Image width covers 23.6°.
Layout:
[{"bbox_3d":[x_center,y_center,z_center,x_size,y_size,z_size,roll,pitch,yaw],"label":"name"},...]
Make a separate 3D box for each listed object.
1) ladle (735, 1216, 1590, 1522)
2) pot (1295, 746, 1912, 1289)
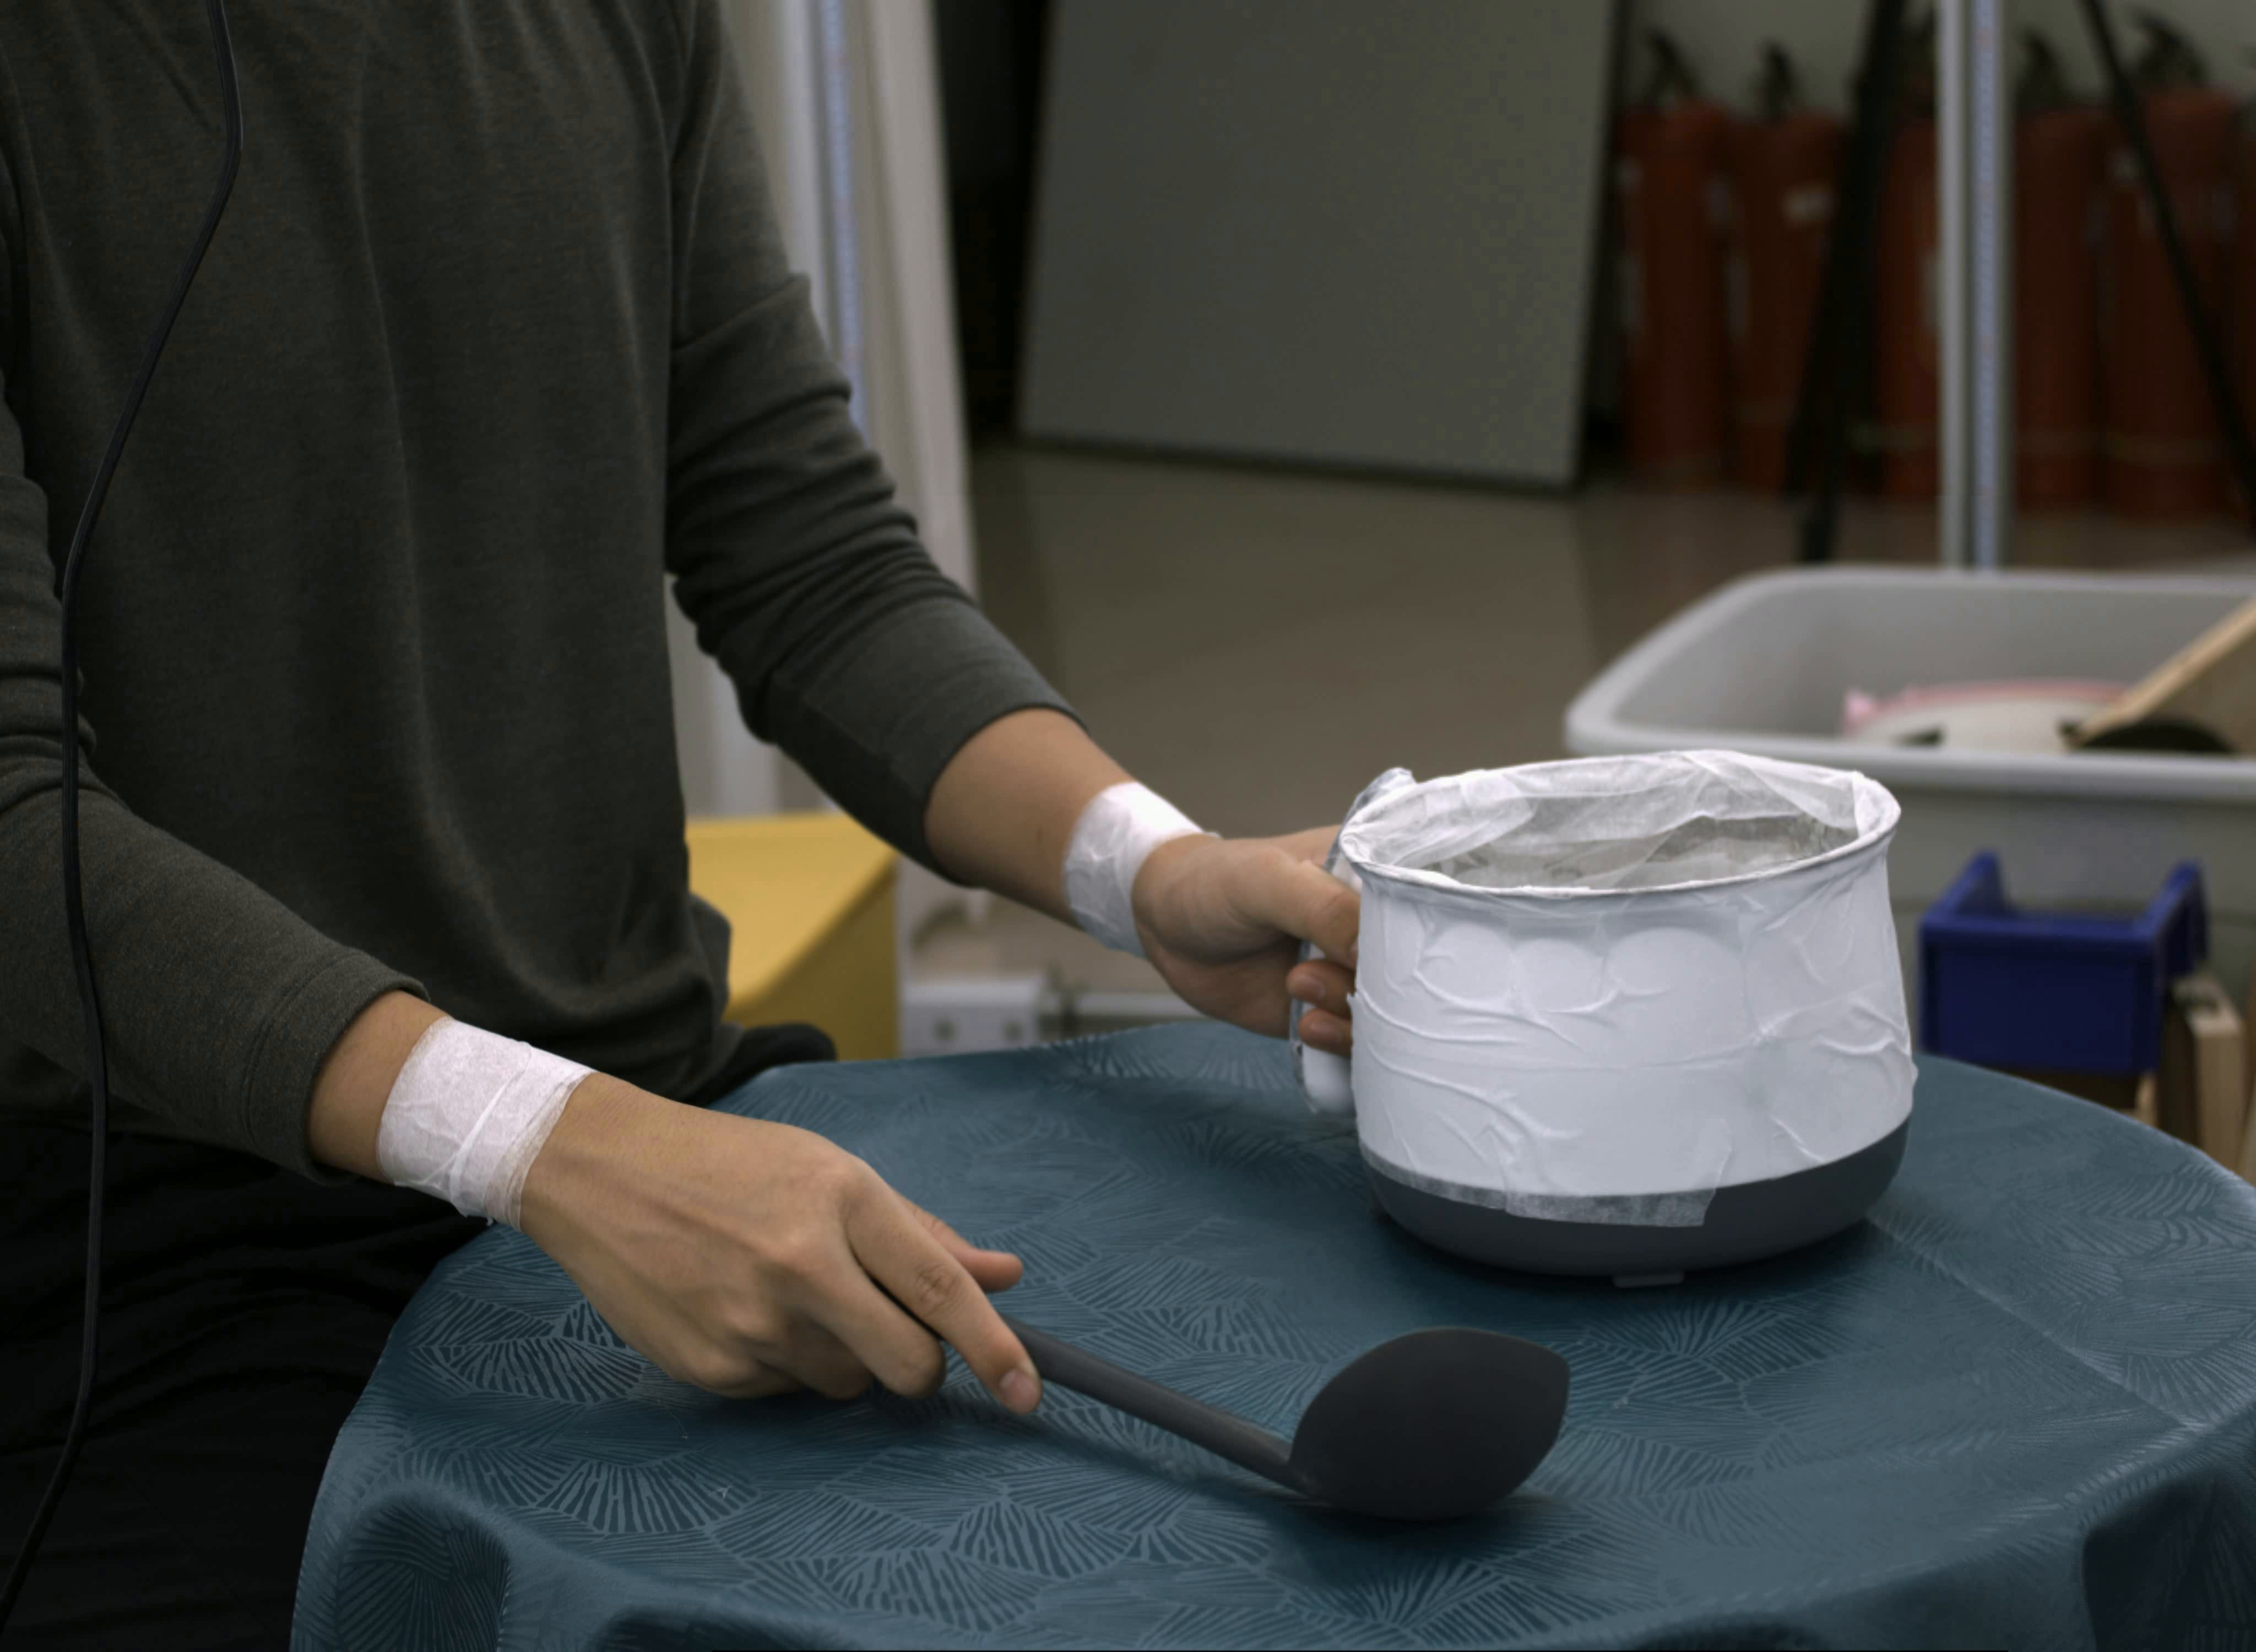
[{"bbox_3d":[-0.002,0.135,1.545,0.317,0.064,0.084,17,-10,45],"label":"ladle"},{"bbox_3d":[0.139,0.055,1.713,0.175,0.138,0.236,-15,16,-40],"label":"pot"}]
